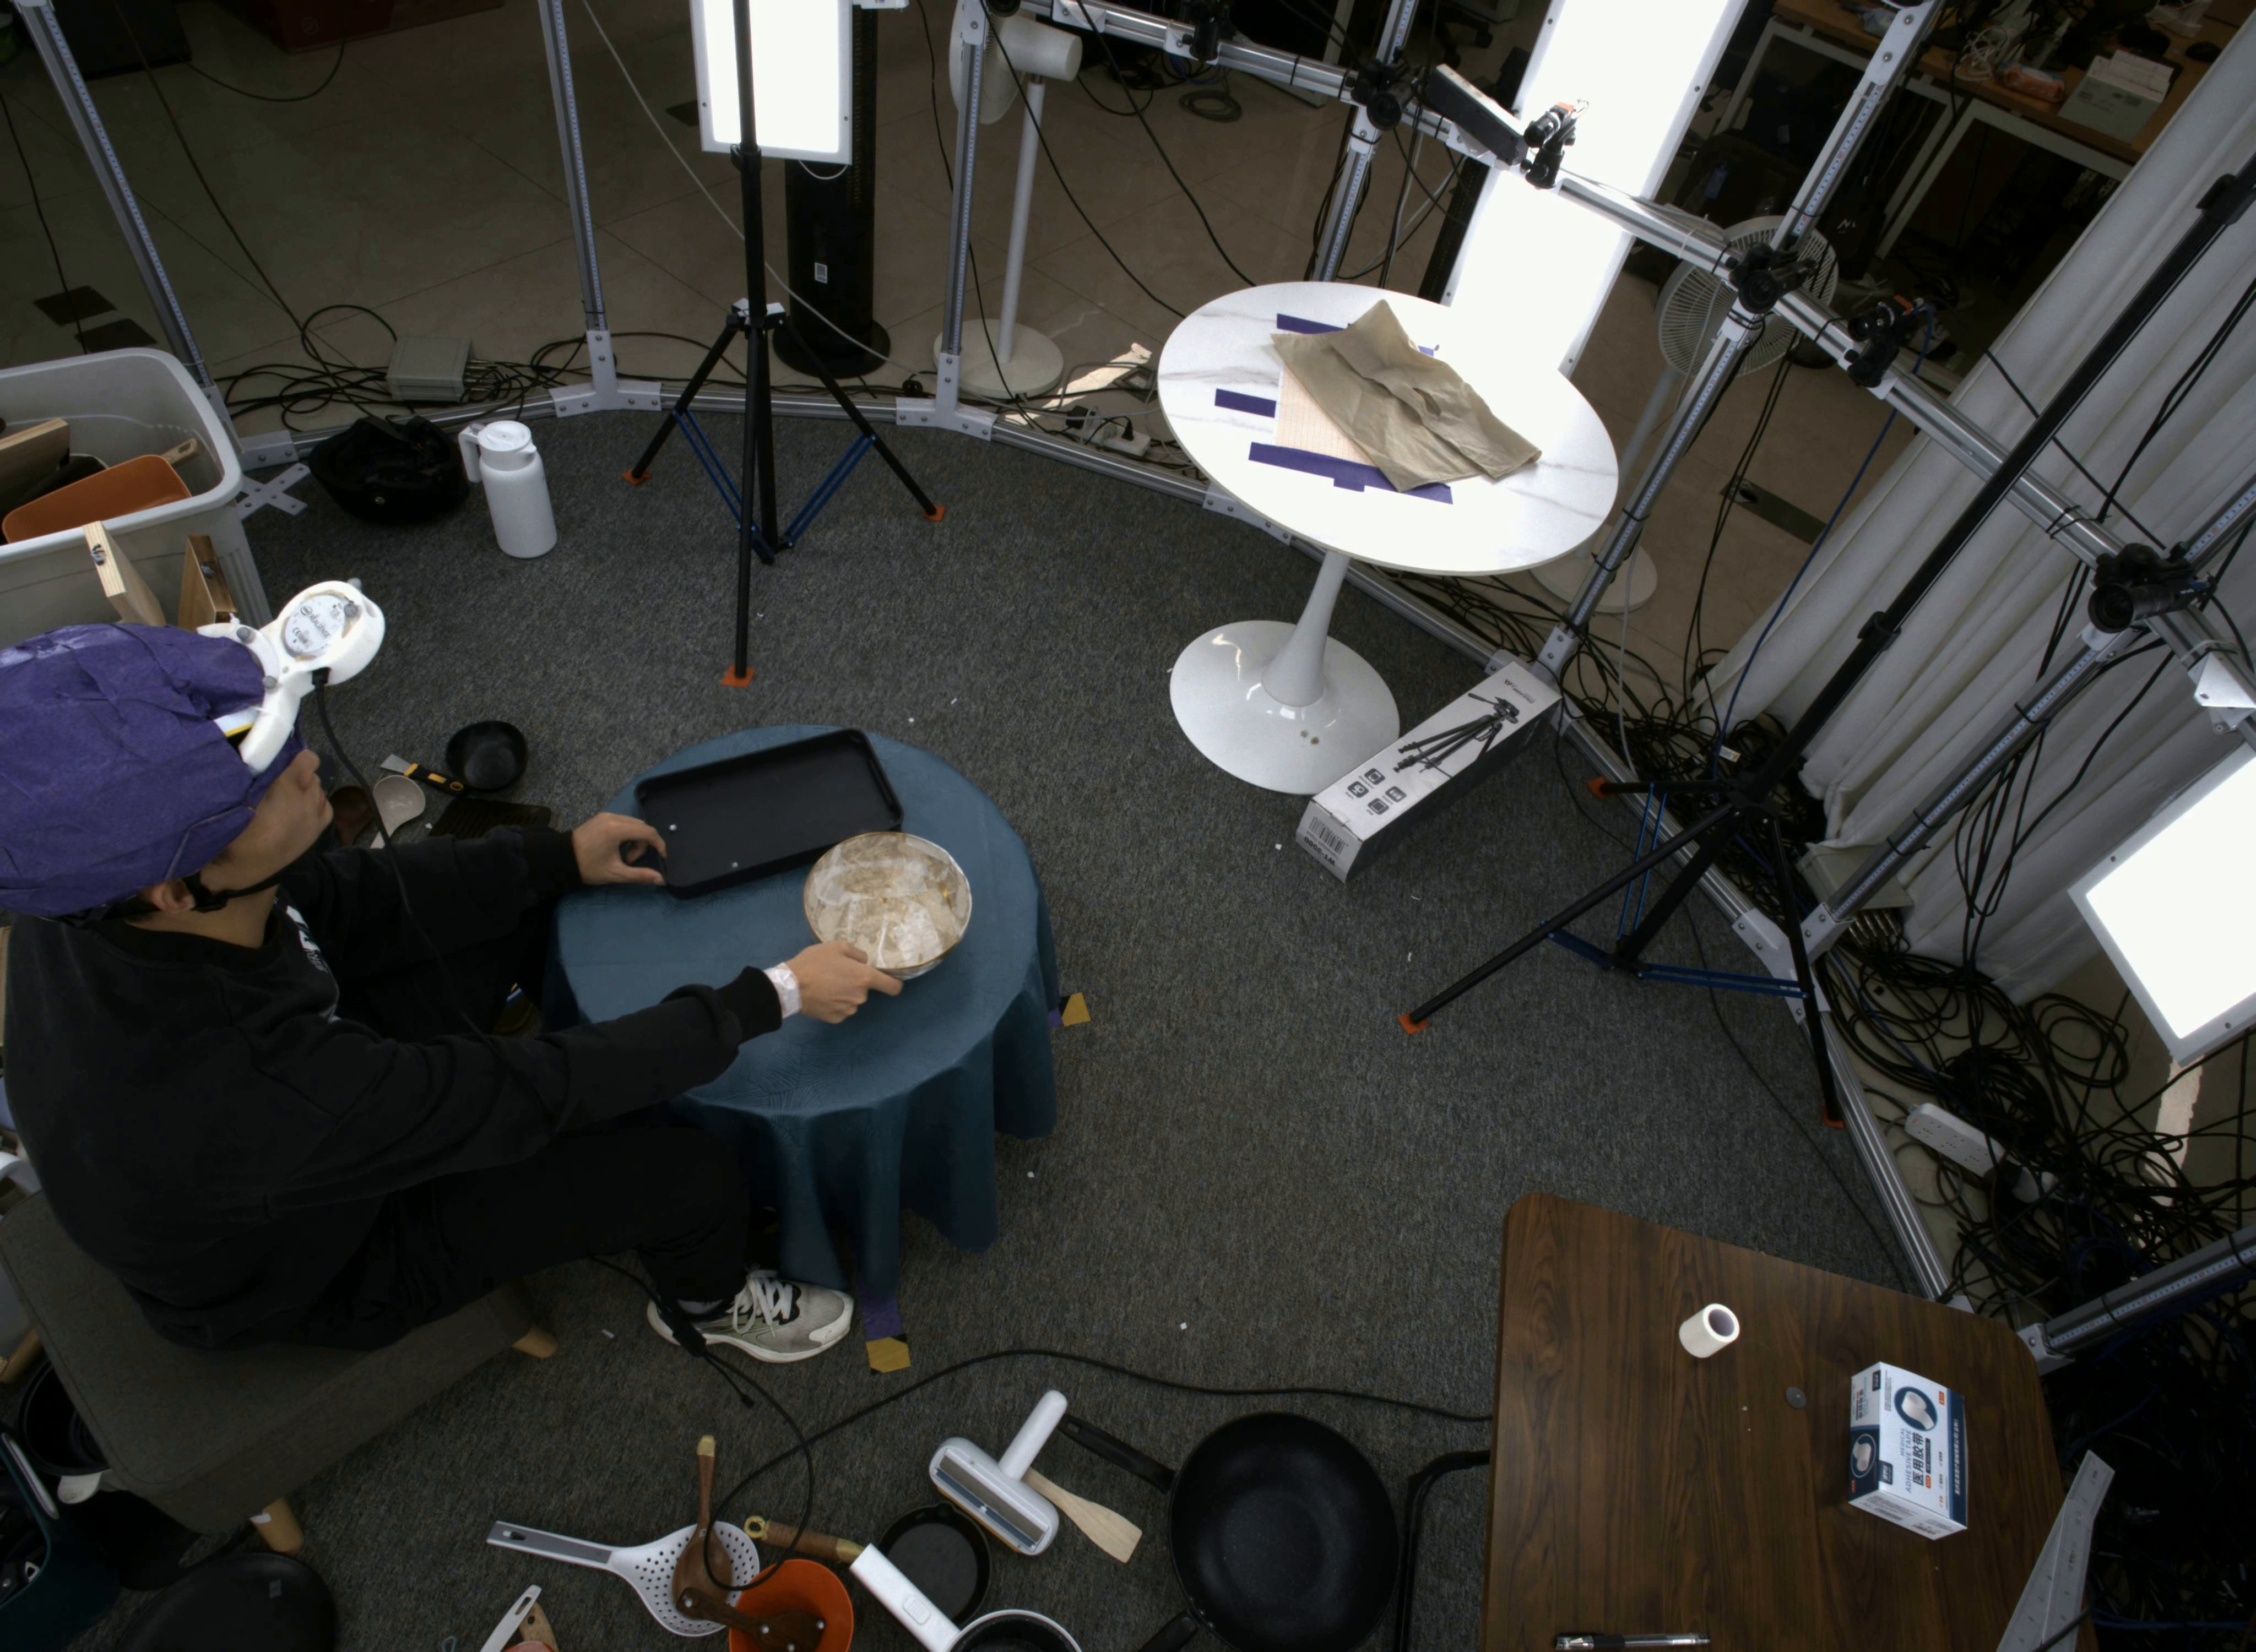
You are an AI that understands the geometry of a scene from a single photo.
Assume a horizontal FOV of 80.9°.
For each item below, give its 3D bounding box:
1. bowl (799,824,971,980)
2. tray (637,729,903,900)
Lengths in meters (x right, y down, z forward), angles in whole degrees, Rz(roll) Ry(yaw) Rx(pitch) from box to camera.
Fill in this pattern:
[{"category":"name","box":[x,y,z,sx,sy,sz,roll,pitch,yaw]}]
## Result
[{"category":"bowl","box":[-0.303,0.109,1.608,0.215,0.096,0.211,9,54,-11]},{"category":"tray","box":[-0.472,-0.021,1.709,0.319,0.038,0.179,-16,59,-25]}]
